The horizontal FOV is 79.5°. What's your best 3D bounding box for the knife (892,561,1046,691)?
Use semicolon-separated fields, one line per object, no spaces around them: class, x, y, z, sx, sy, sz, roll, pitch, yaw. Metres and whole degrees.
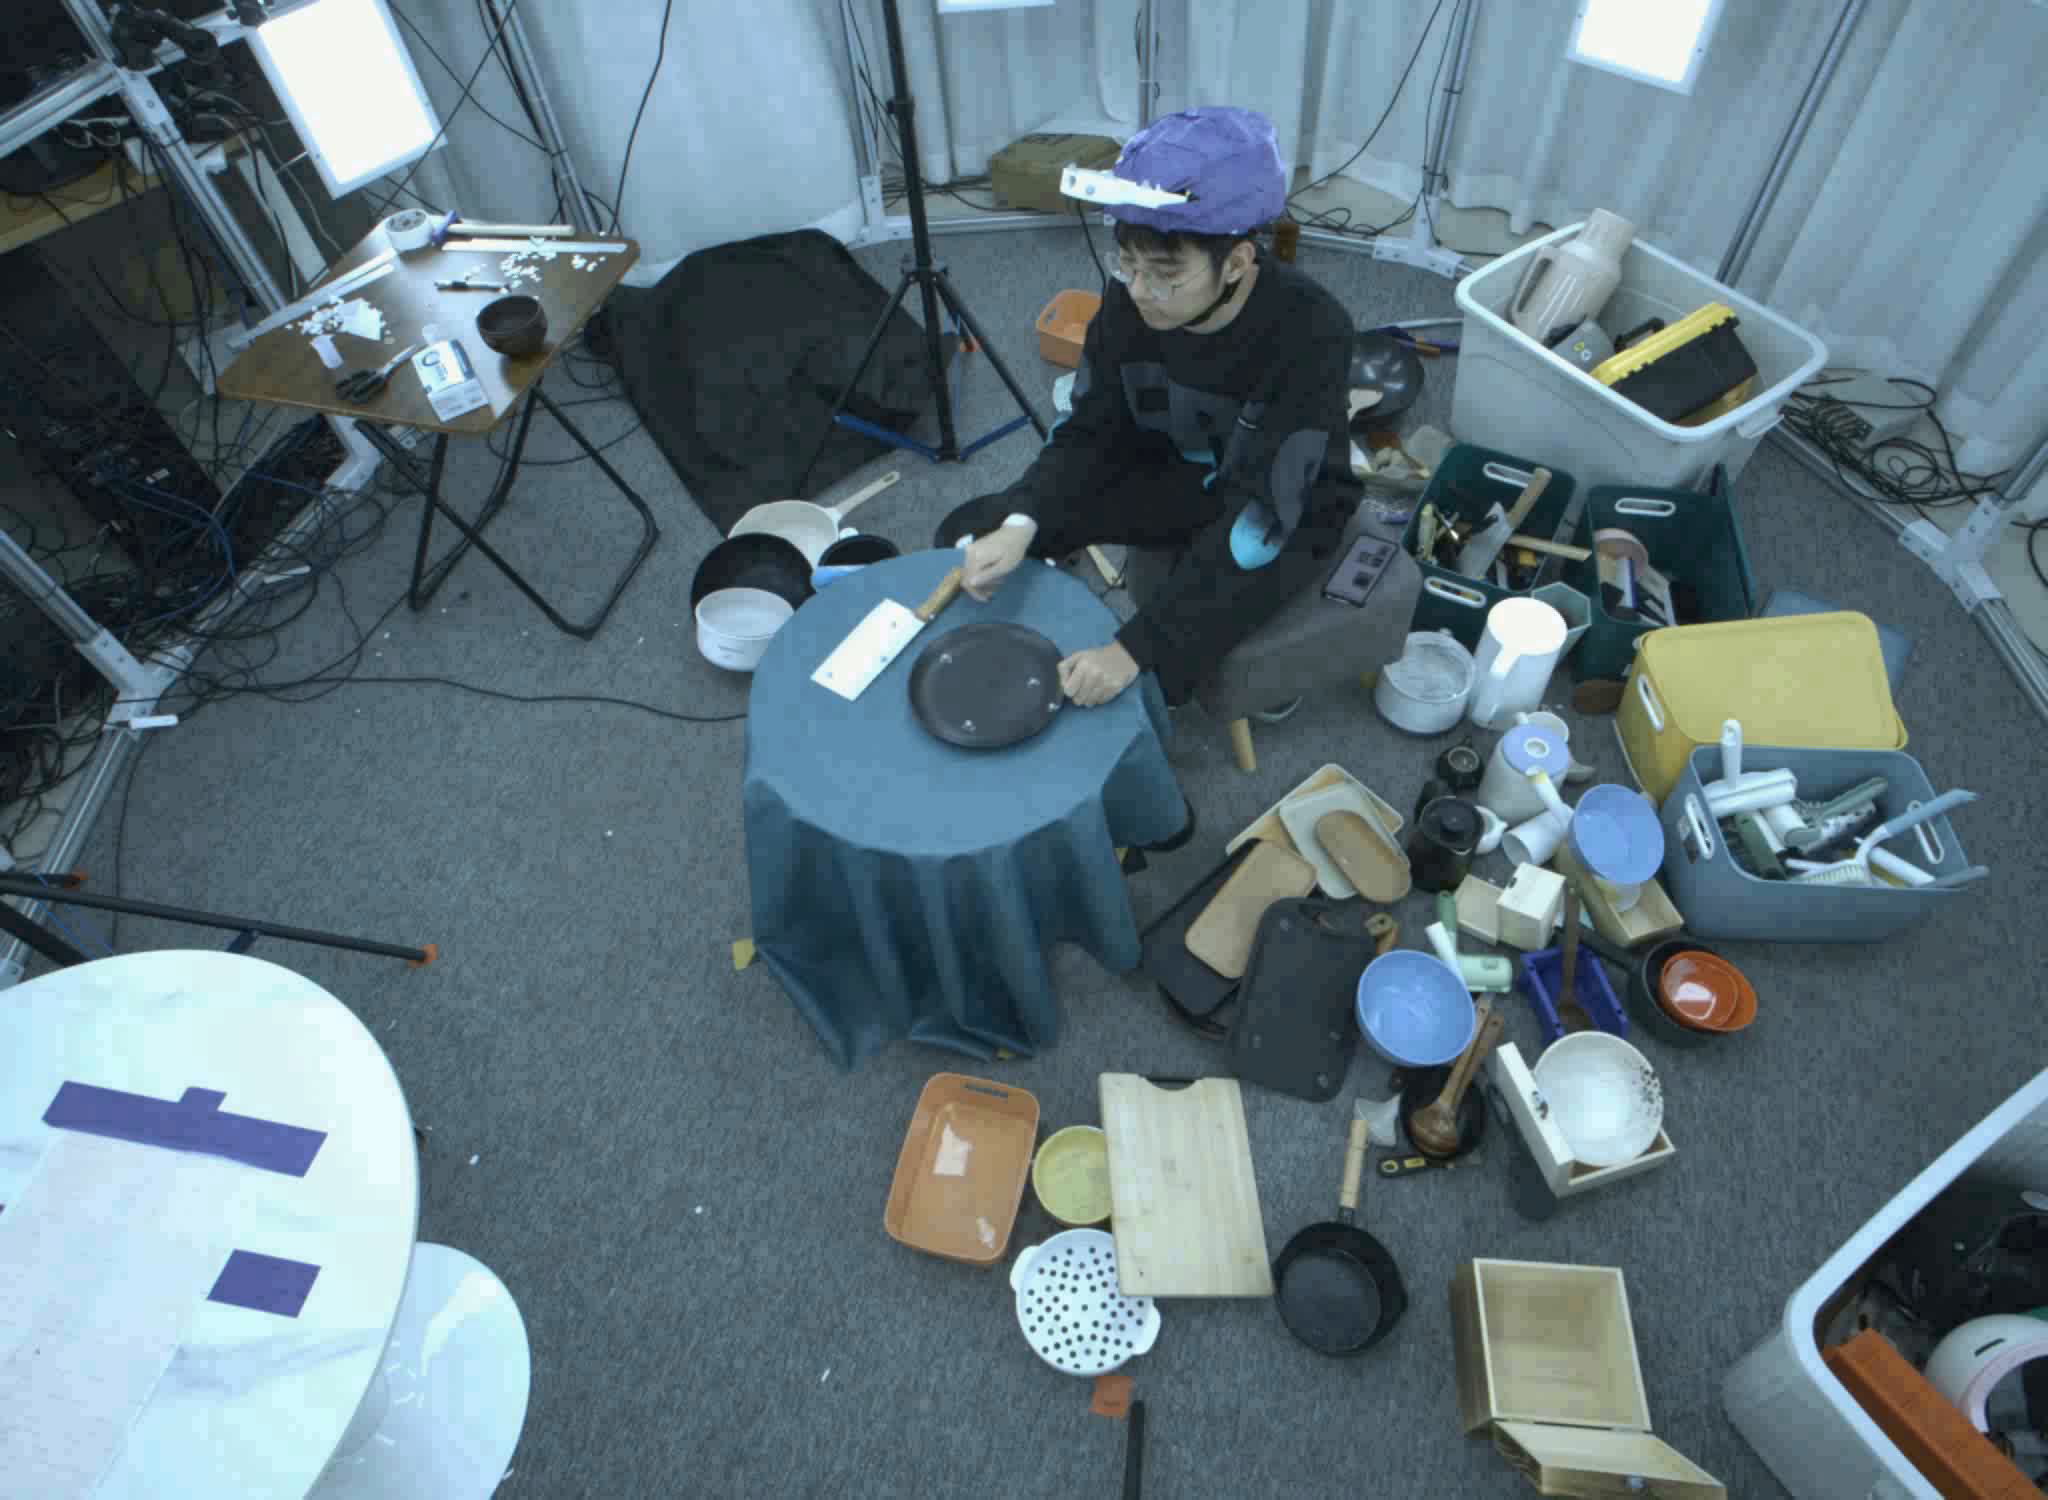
knife;-0.090;-0.207;1.928;0.091;0.021;0.307;32;64;24

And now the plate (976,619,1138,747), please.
plate;0.049;-0.098;1.840;0.244;0.024;0.242;0;55;2
